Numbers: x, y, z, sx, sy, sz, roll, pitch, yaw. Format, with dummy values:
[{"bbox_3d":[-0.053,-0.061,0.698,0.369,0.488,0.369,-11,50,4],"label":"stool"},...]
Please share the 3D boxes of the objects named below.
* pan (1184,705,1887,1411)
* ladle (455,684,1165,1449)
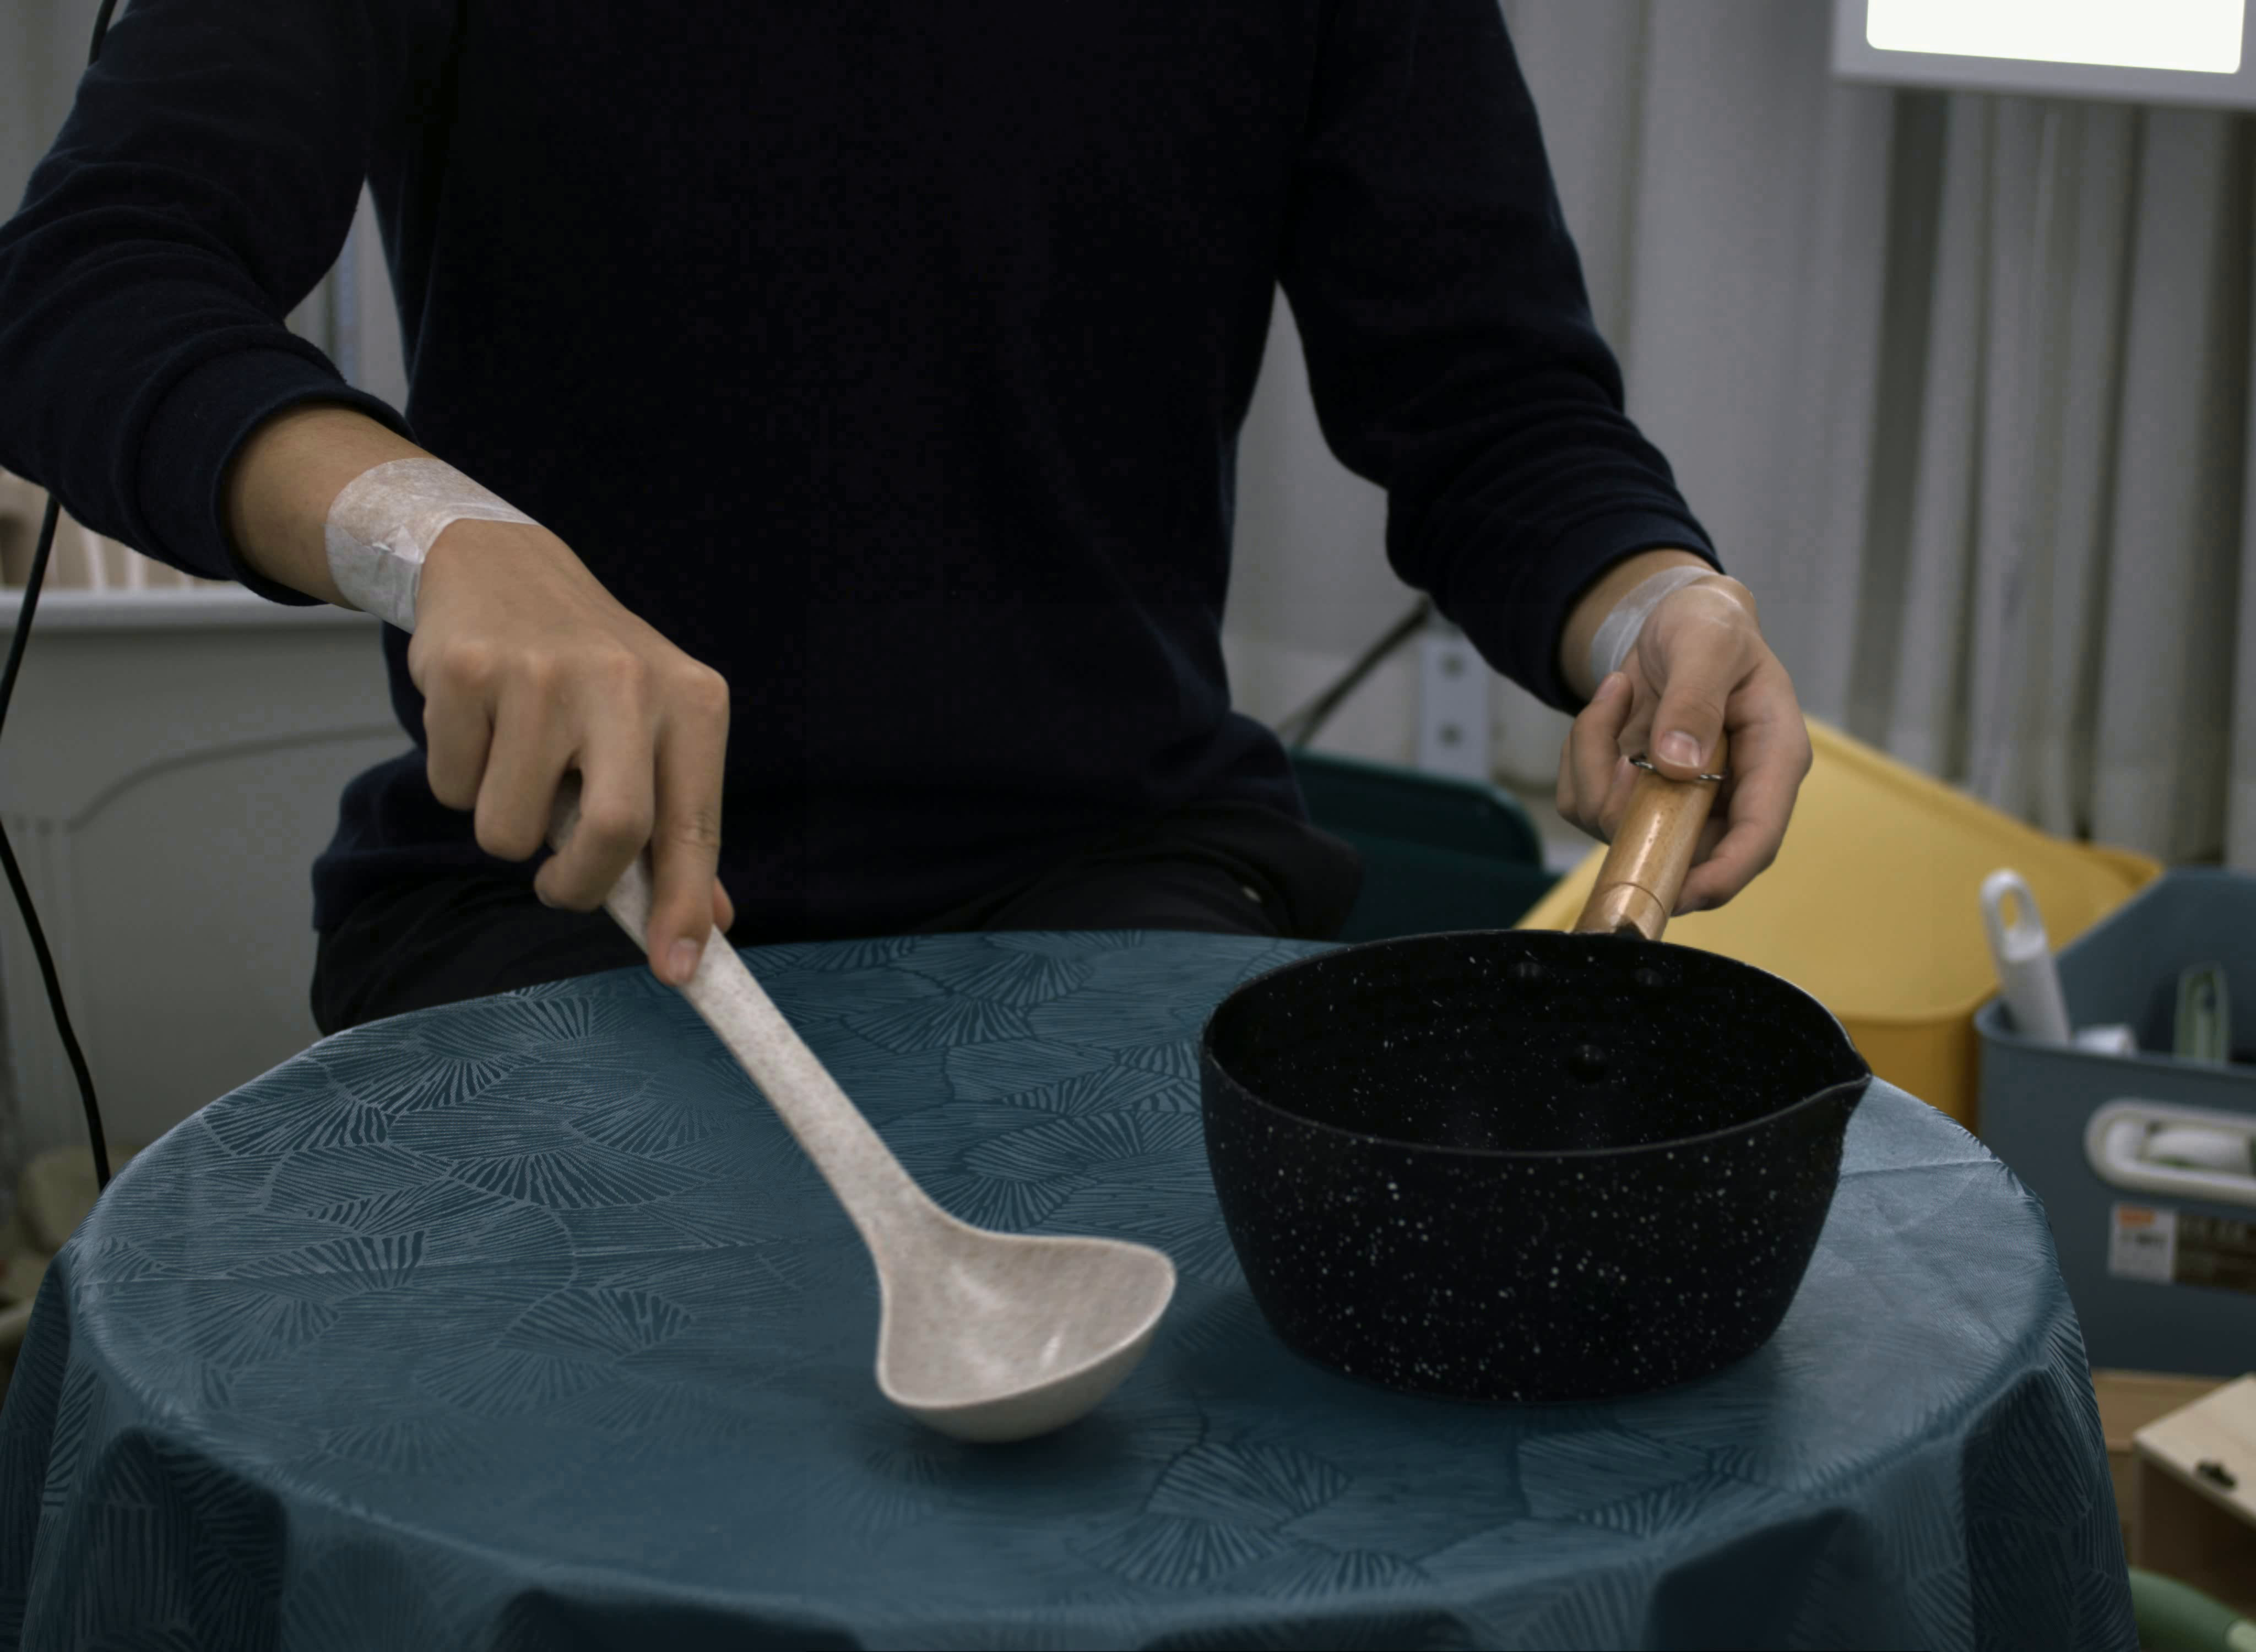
[{"bbox_3d":[0.135,0.064,1.577,0.206,0.109,0.342,4,20,15],"label":"pan"},{"bbox_3d":[-0.095,0.053,1.442,0.089,0.273,0.069,-31,-12,-31],"label":"ladle"}]
